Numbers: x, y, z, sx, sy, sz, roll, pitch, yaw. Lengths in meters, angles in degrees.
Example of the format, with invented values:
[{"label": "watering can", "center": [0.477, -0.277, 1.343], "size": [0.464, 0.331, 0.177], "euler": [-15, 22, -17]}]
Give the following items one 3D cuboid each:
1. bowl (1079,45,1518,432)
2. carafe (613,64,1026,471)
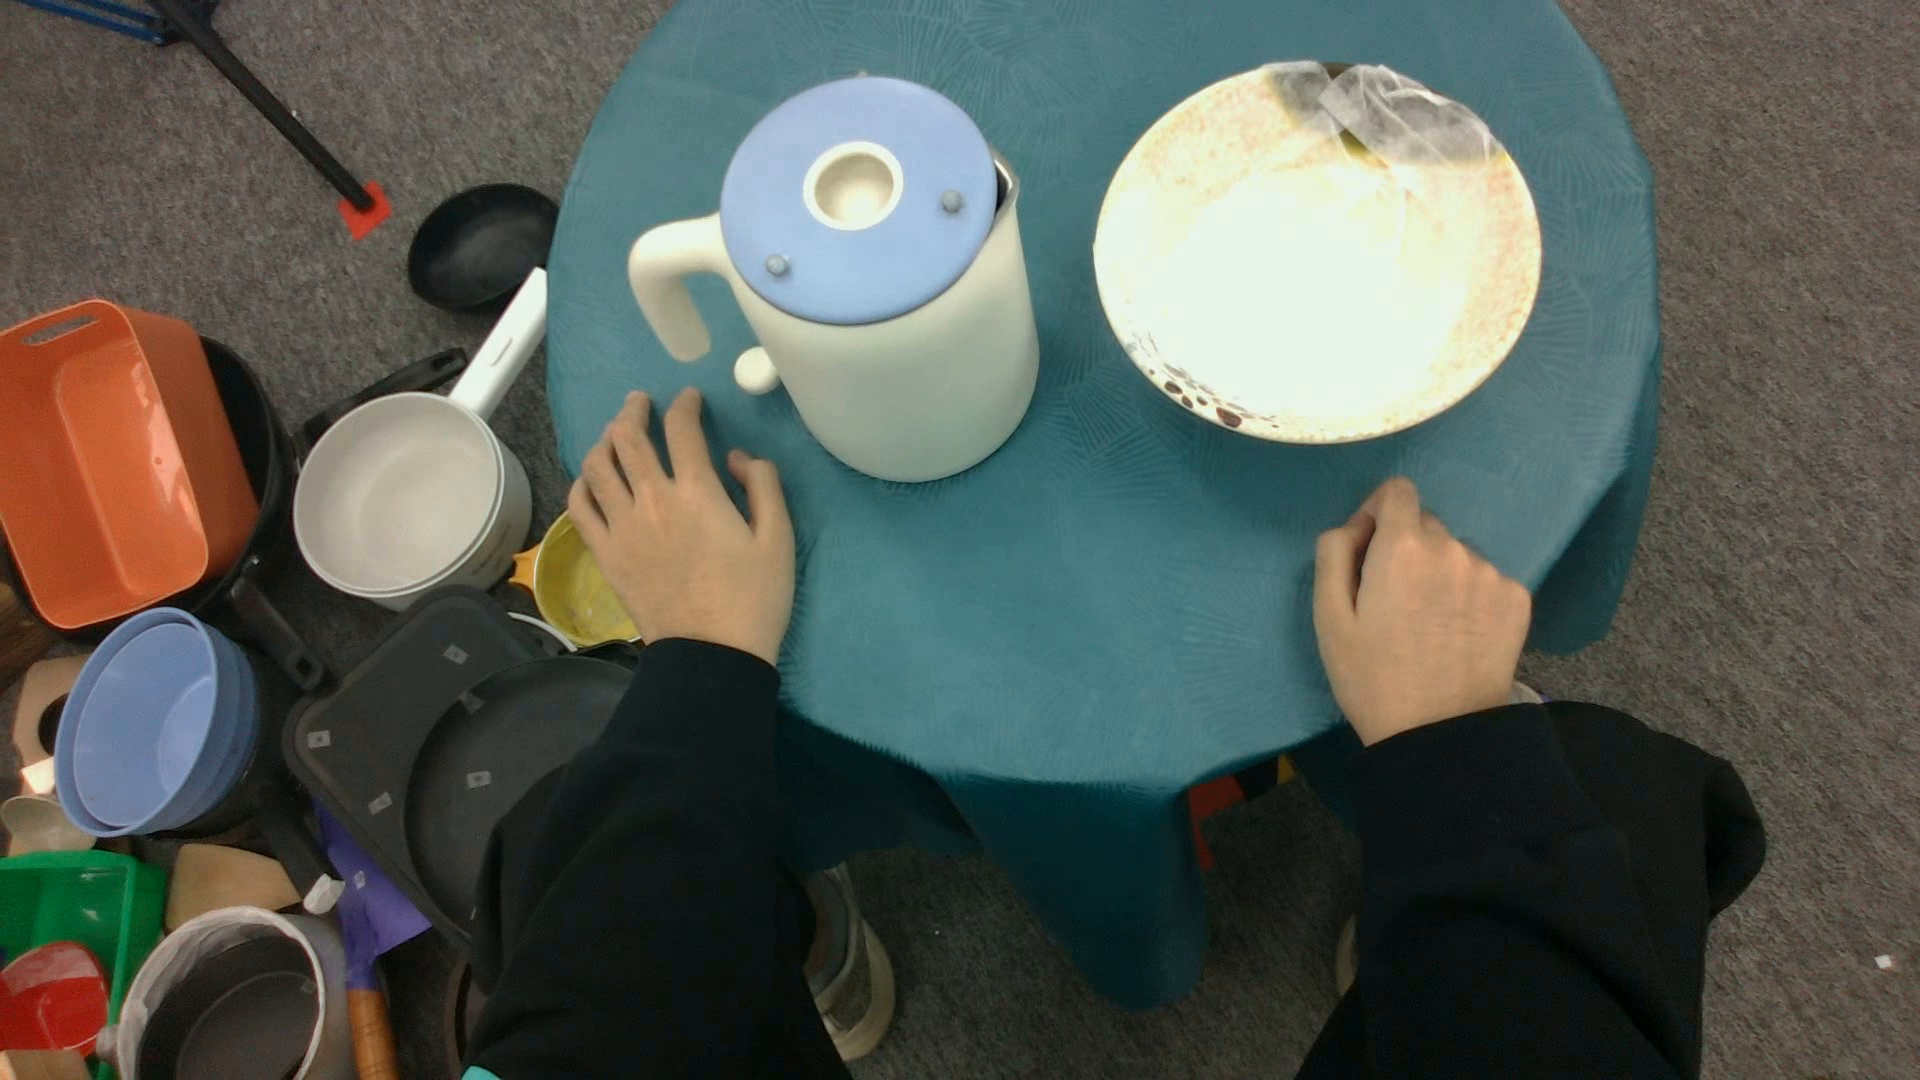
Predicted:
[{"label": "bowl", "center": [0.162, -0.137, 0.686], "size": [0.204, 0.078, 0.204], "euler": [-2, 73, 7]}, {"label": "carafe", "center": [-0.064, -0.119, 0.656], "size": [0.191, 0.182, 0.132], "euler": [-7, 69, 7]}]
